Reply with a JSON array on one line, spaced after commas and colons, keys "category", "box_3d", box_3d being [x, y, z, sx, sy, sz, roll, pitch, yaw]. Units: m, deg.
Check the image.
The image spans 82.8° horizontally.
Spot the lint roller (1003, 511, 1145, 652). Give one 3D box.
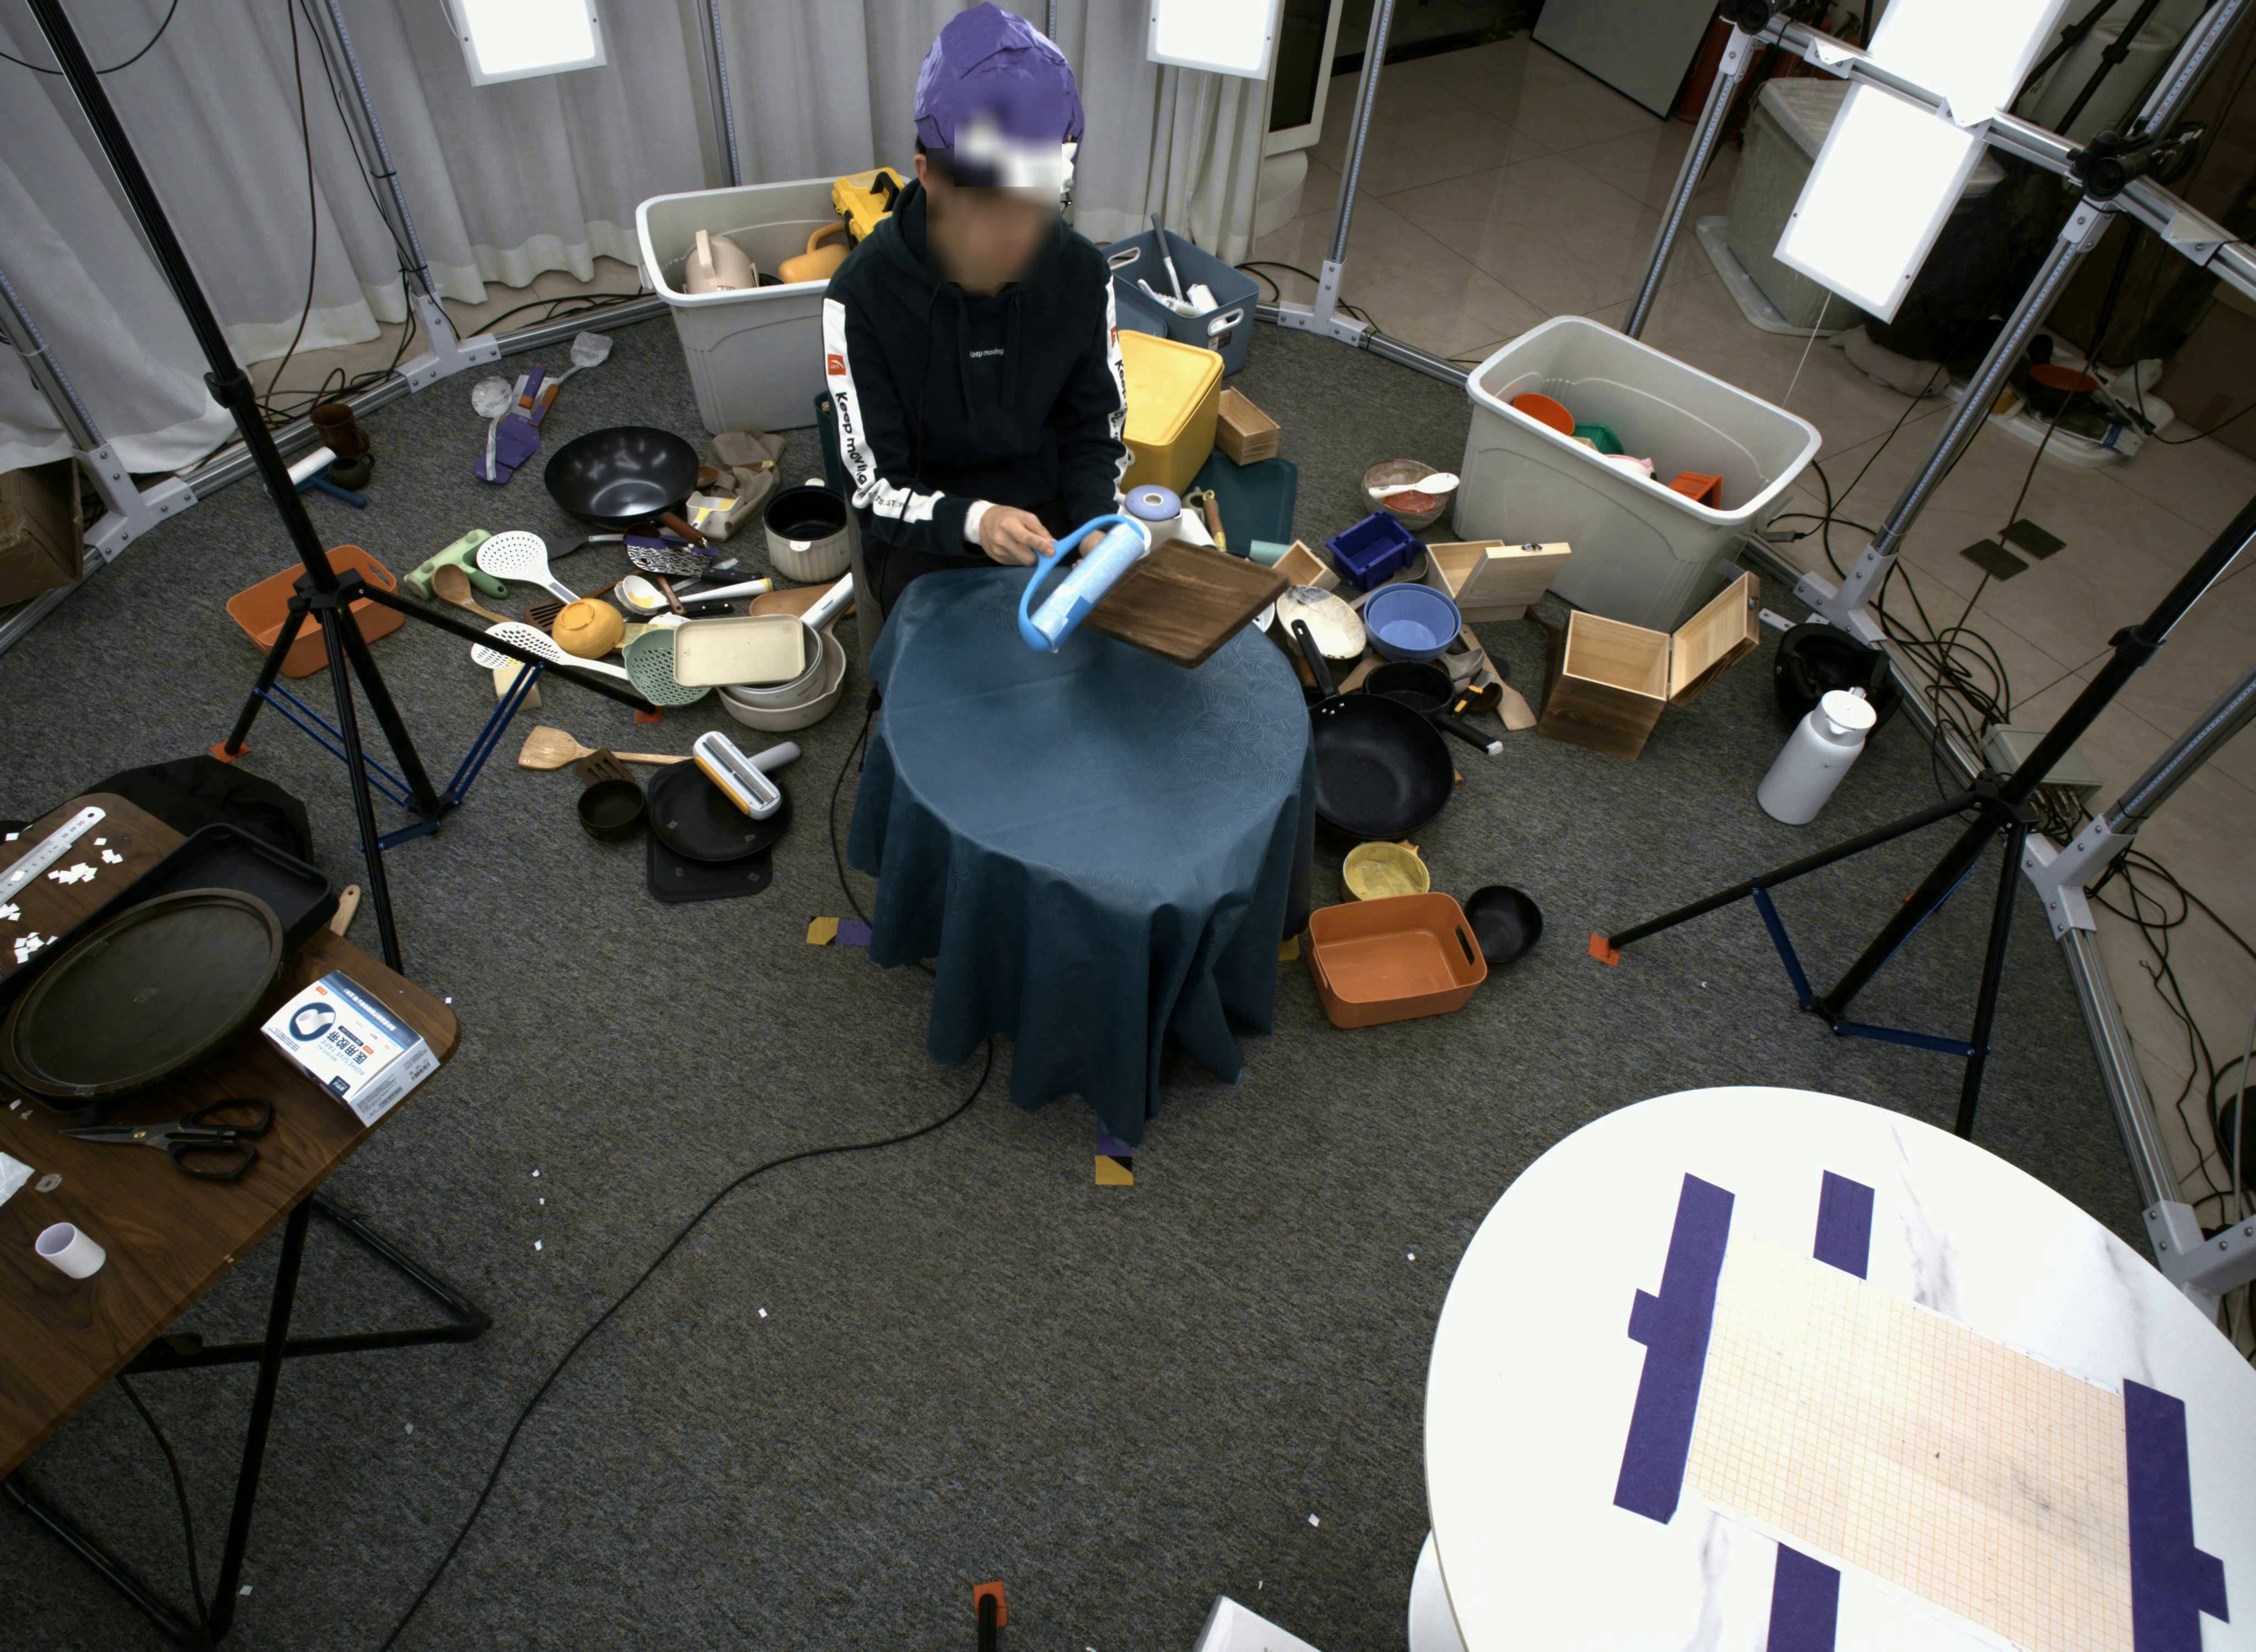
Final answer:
[{"category": "lint roller", "box_3d": [-0.104, -0.356, 1.752, 0.182, 0.067, 0.231, 32, 76, 18]}]

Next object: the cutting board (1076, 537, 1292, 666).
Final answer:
[{"category": "cutting board", "box_3d": [0.042, -0.329, 1.792, 0.202, 0.022, 0.357, -42, 41, -19]}]
